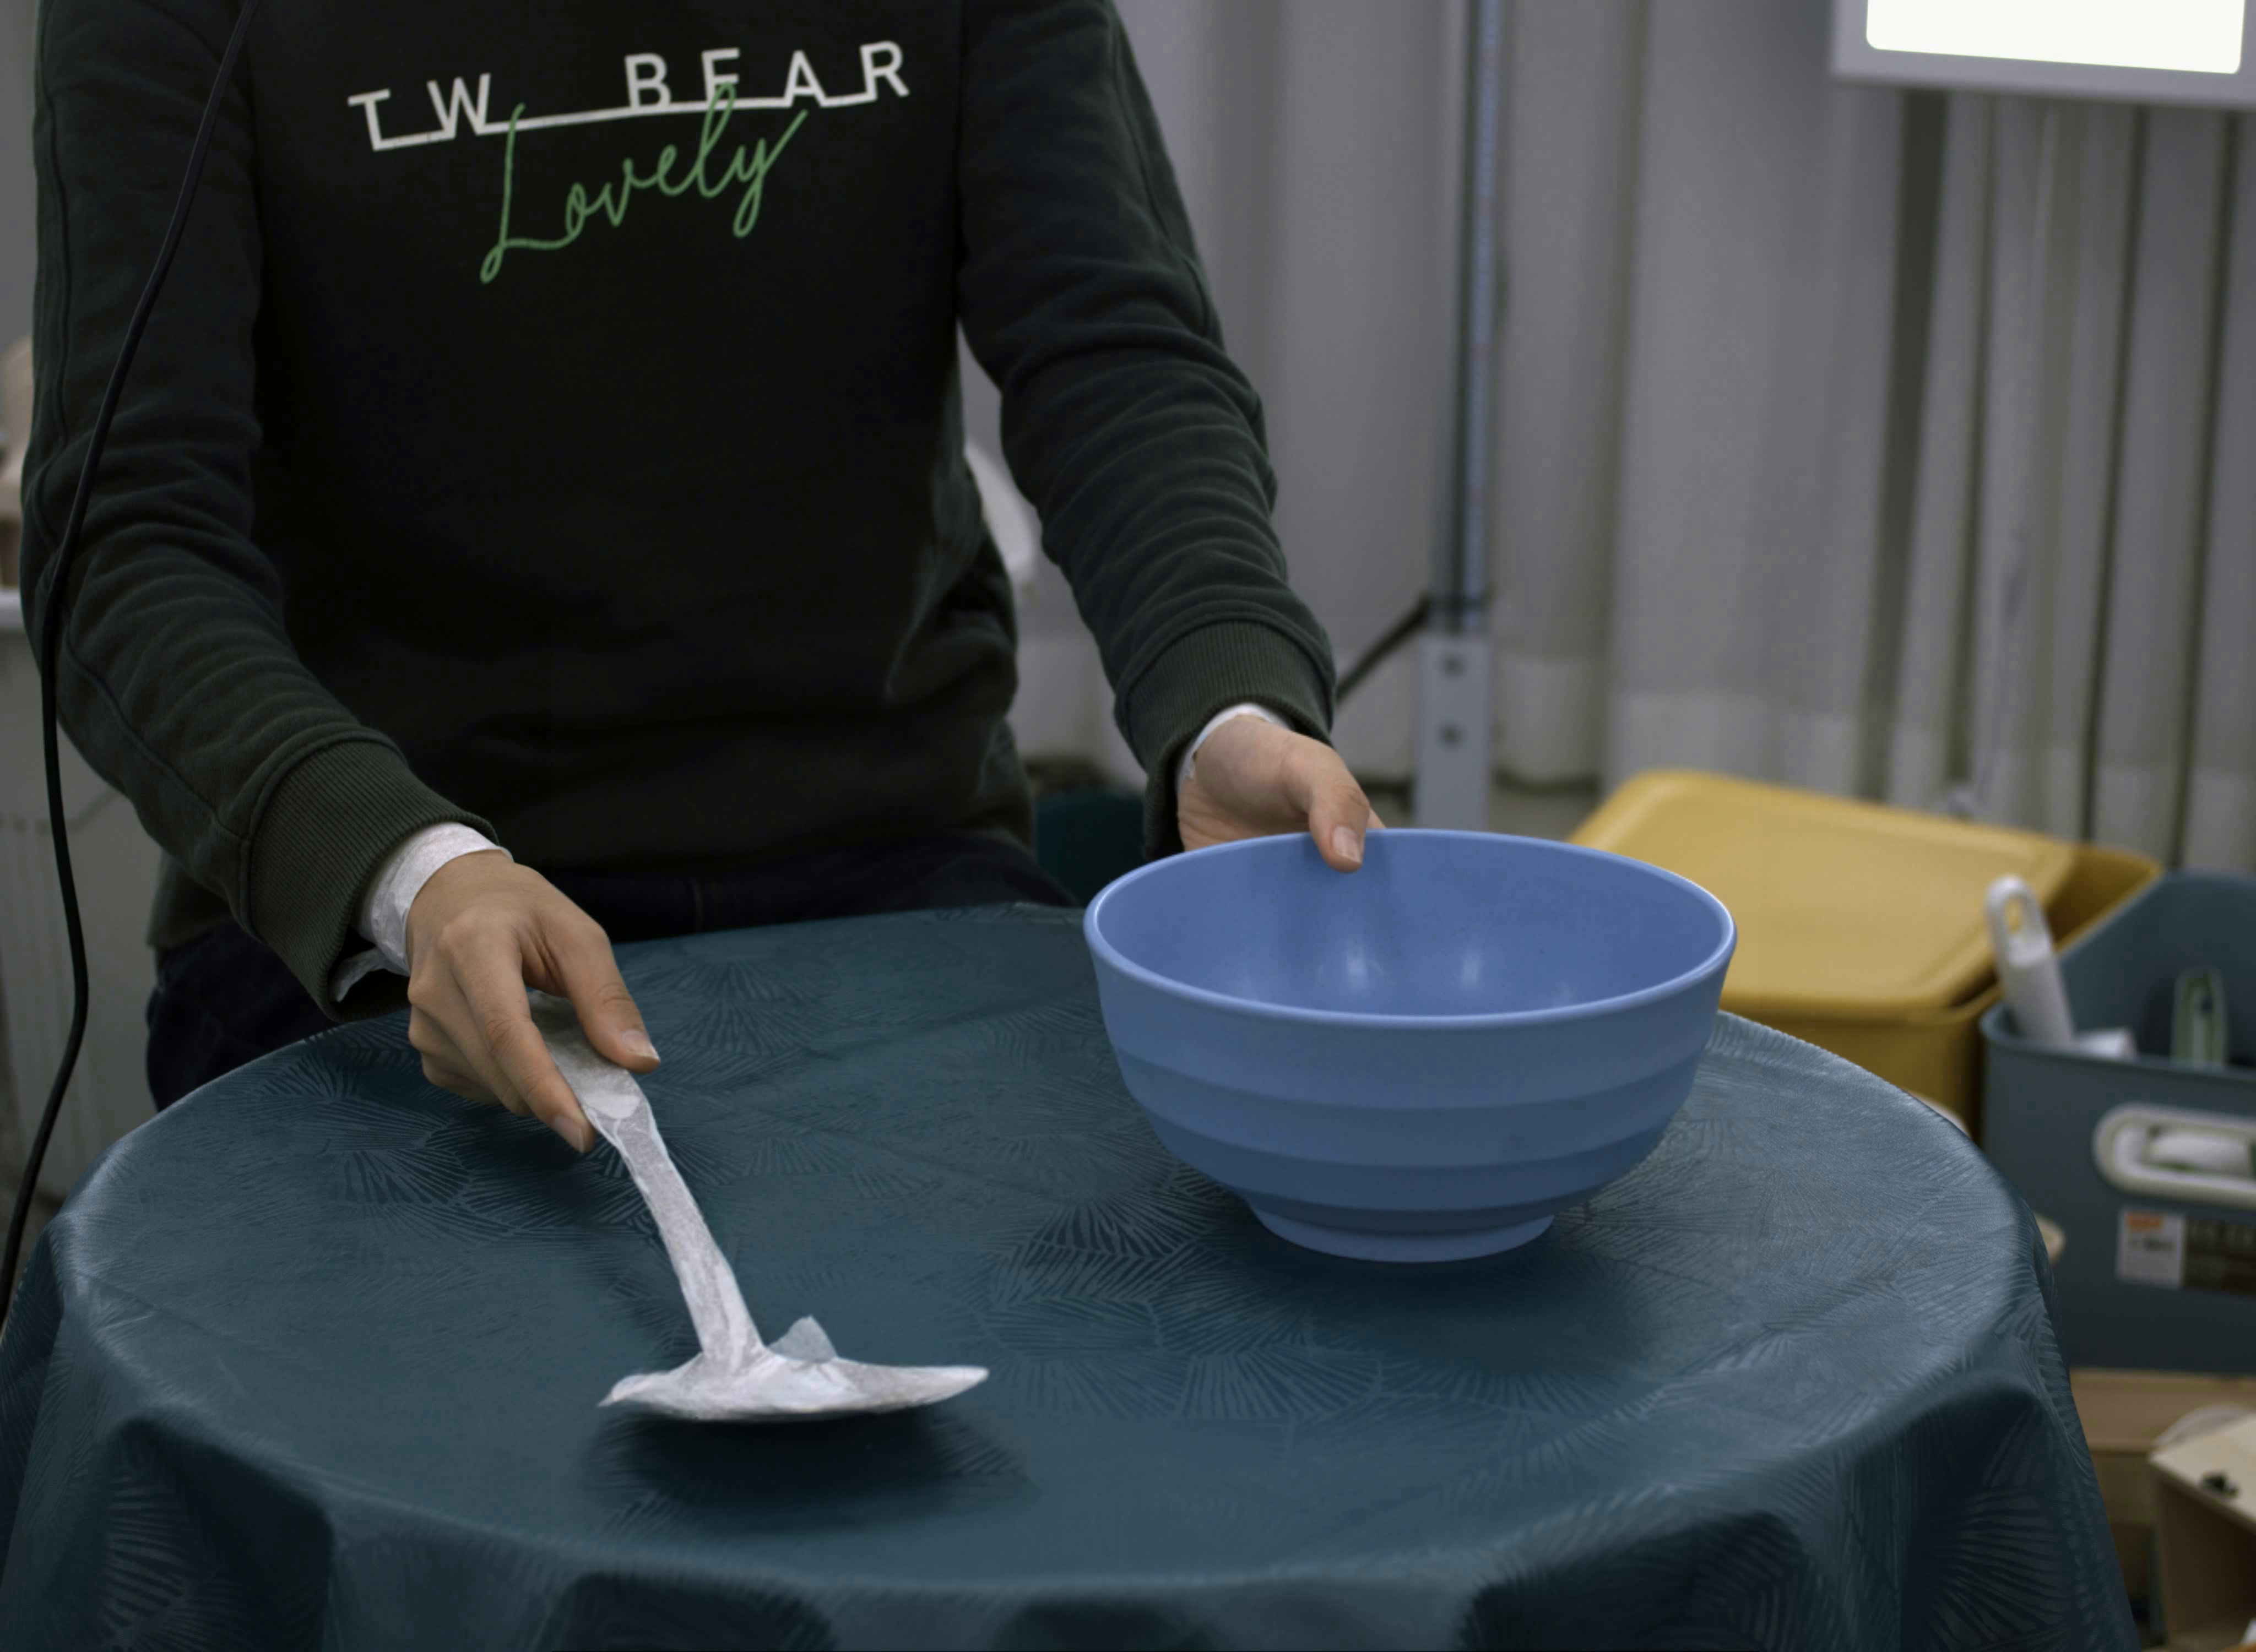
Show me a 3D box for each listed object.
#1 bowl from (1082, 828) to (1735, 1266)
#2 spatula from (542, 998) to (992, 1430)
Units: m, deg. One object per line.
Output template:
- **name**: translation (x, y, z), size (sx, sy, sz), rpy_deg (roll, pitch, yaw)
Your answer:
- **bowl**: translation (0.085, 0.073, 1.596), size (0.196, 0.096, 0.195), rpy_deg (0, 17, 1)
- **spatula**: translation (-0.130, 0.105, 1.537), size (0.099, 0.045, 0.360), rpy_deg (-4, 23, -17)
